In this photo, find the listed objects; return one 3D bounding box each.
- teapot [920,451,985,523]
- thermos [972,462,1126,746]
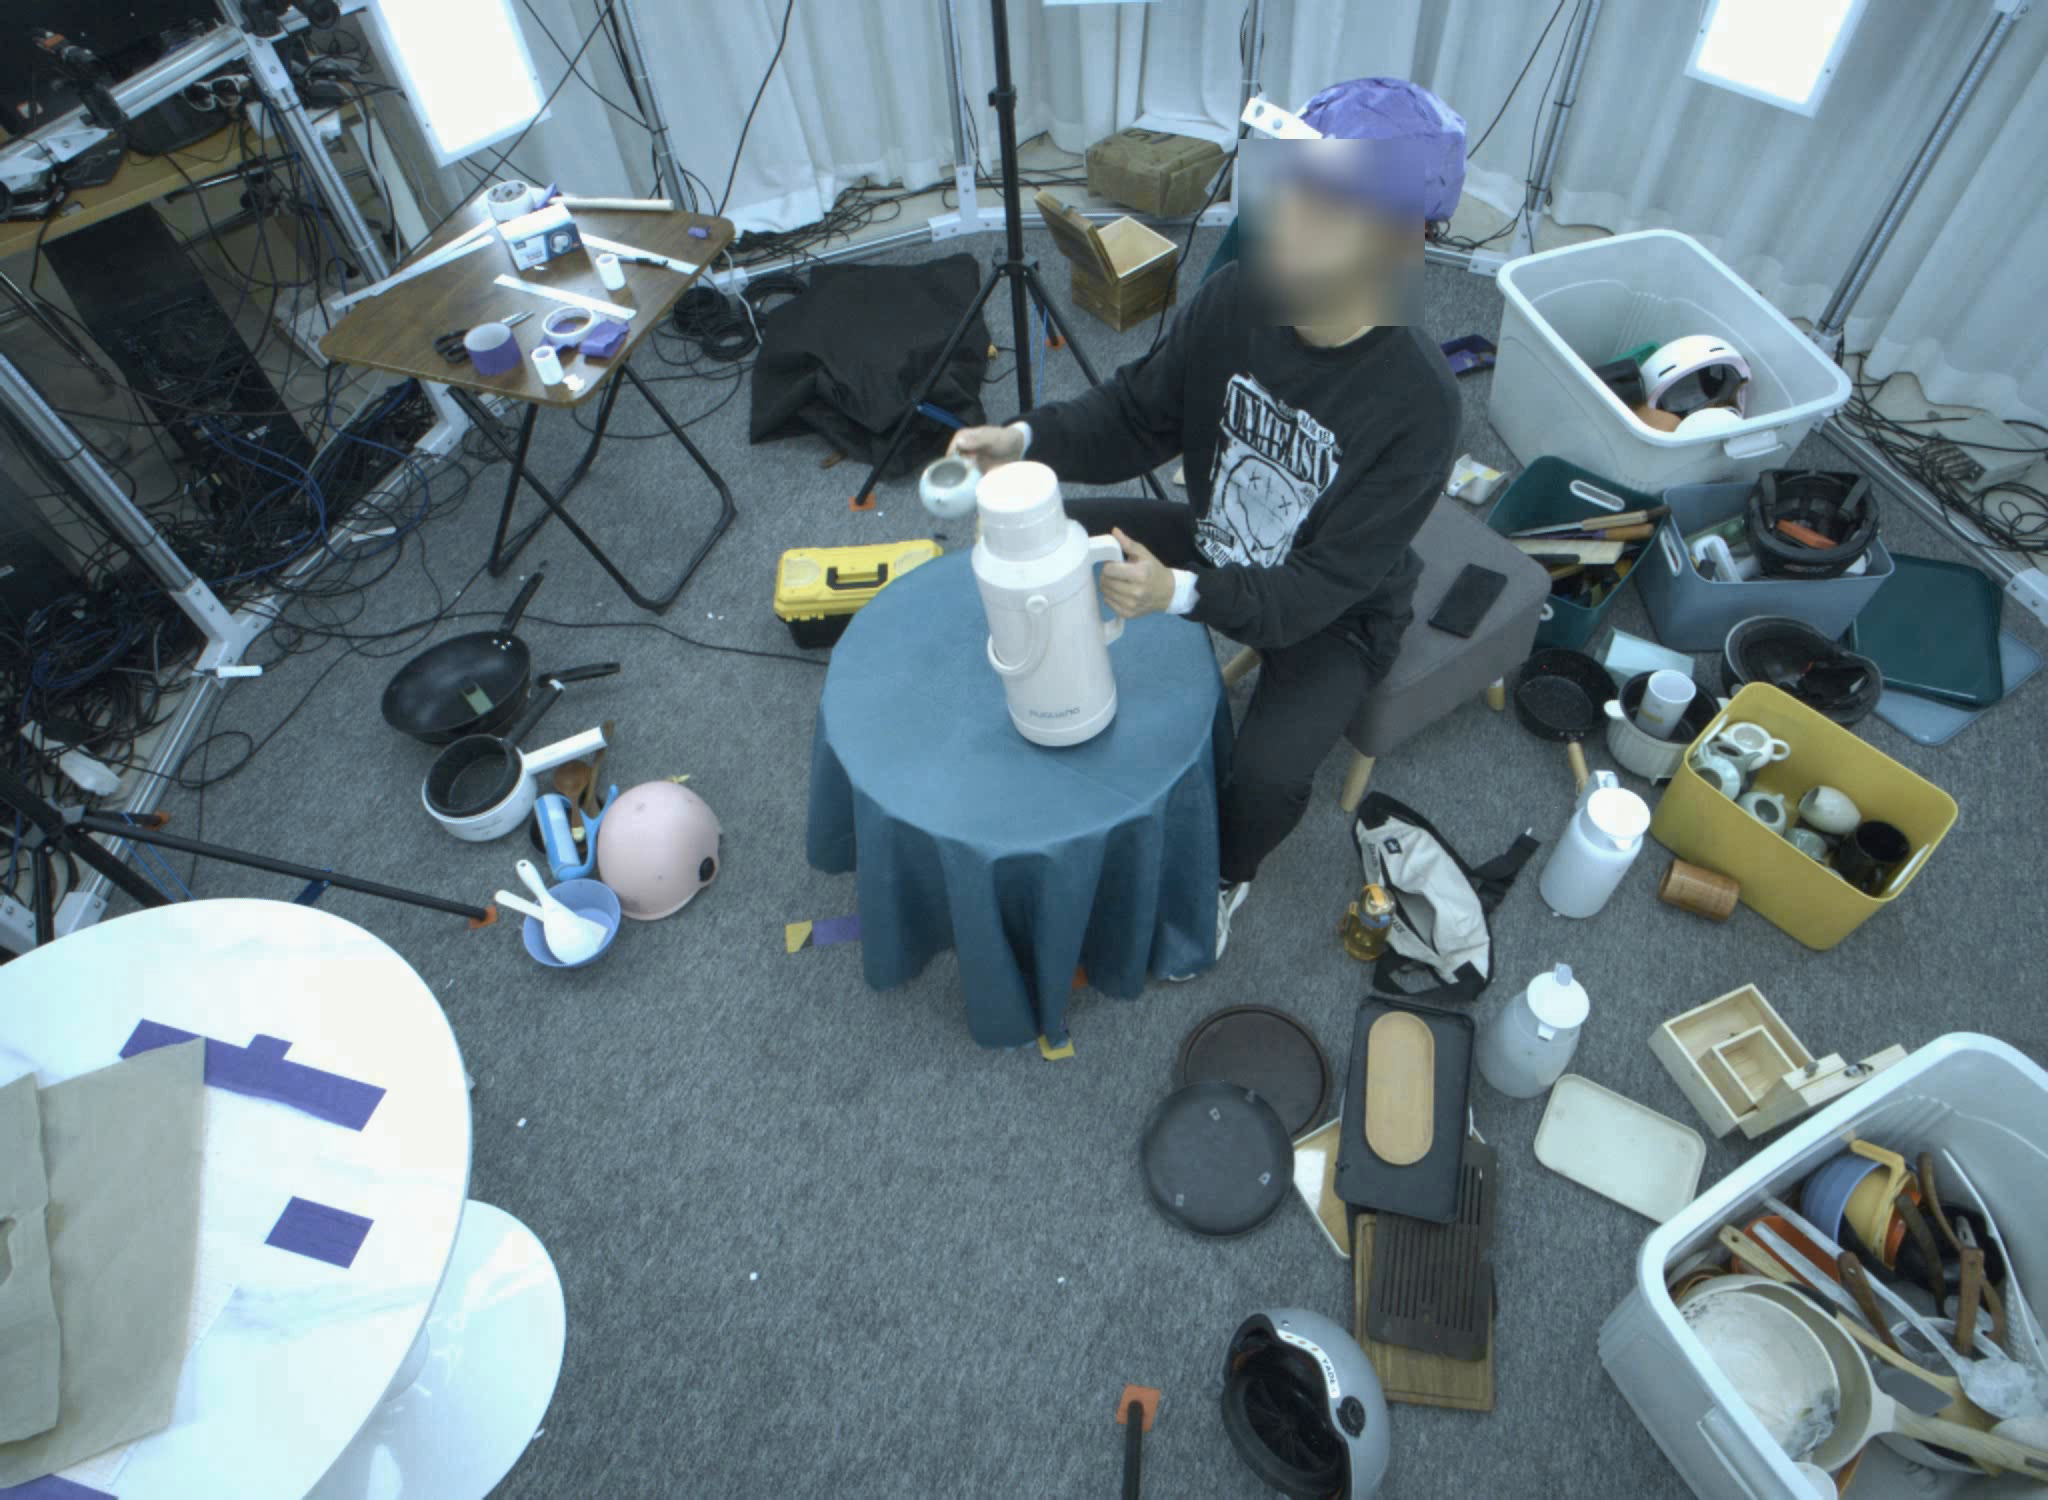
[{"bbox_3d":[-0.100,-0.365,1.701,0.091,0.060,0.127,4,58,16],"label":"teapot"},{"bbox_3d":[0.039,-0.197,1.664,0.206,0.412,0.173,-10,46,4],"label":"thermos"}]
